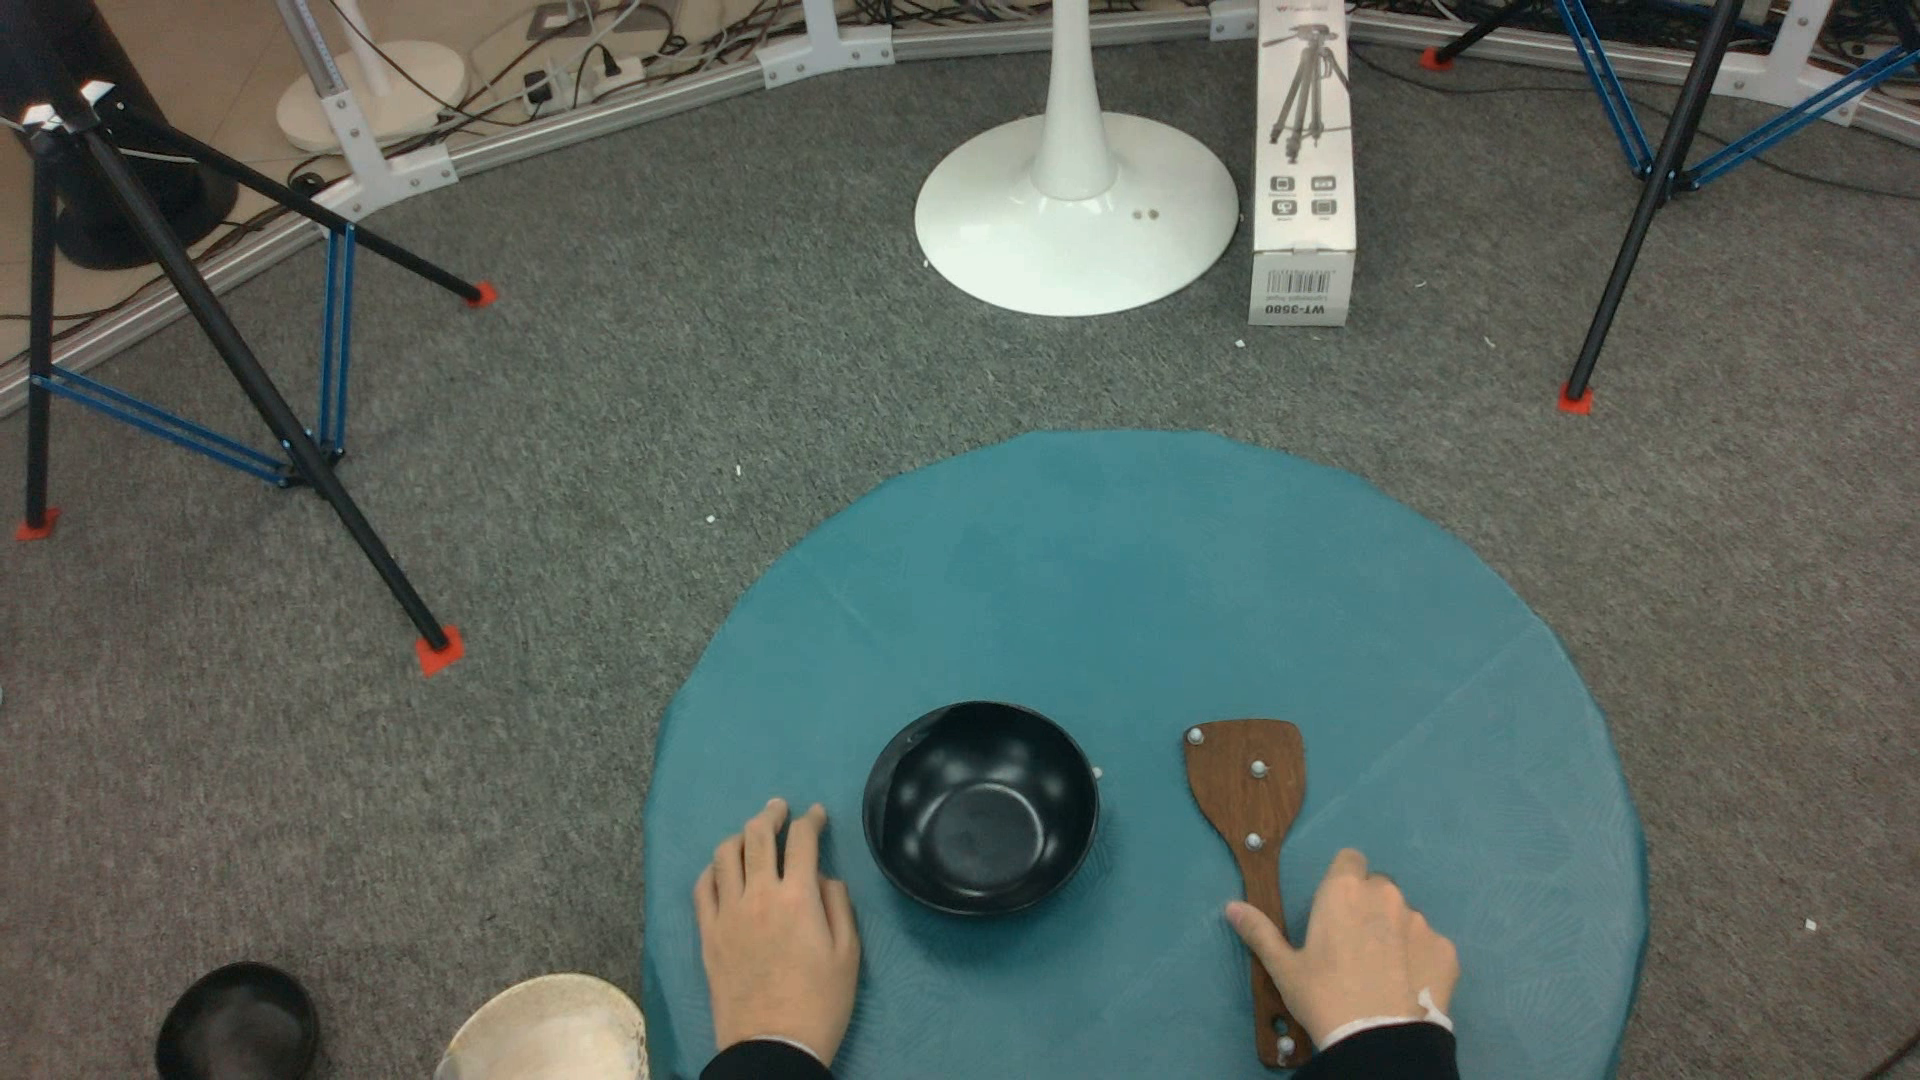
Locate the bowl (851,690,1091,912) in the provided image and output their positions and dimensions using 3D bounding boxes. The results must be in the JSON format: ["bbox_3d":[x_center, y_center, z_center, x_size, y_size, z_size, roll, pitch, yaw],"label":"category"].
[{"bbox_3d":[0.006,0.160,0.813,0.140,0.049,0.140,0,52,1],"label":"bowl"}]

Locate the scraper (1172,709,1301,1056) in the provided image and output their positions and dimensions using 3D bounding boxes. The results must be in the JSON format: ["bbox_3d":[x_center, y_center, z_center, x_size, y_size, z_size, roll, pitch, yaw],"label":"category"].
[{"bbox_3d":[0.169,0.192,0.800,0.076,0.011,0.212,-3,51,4],"label":"scraper"}]
